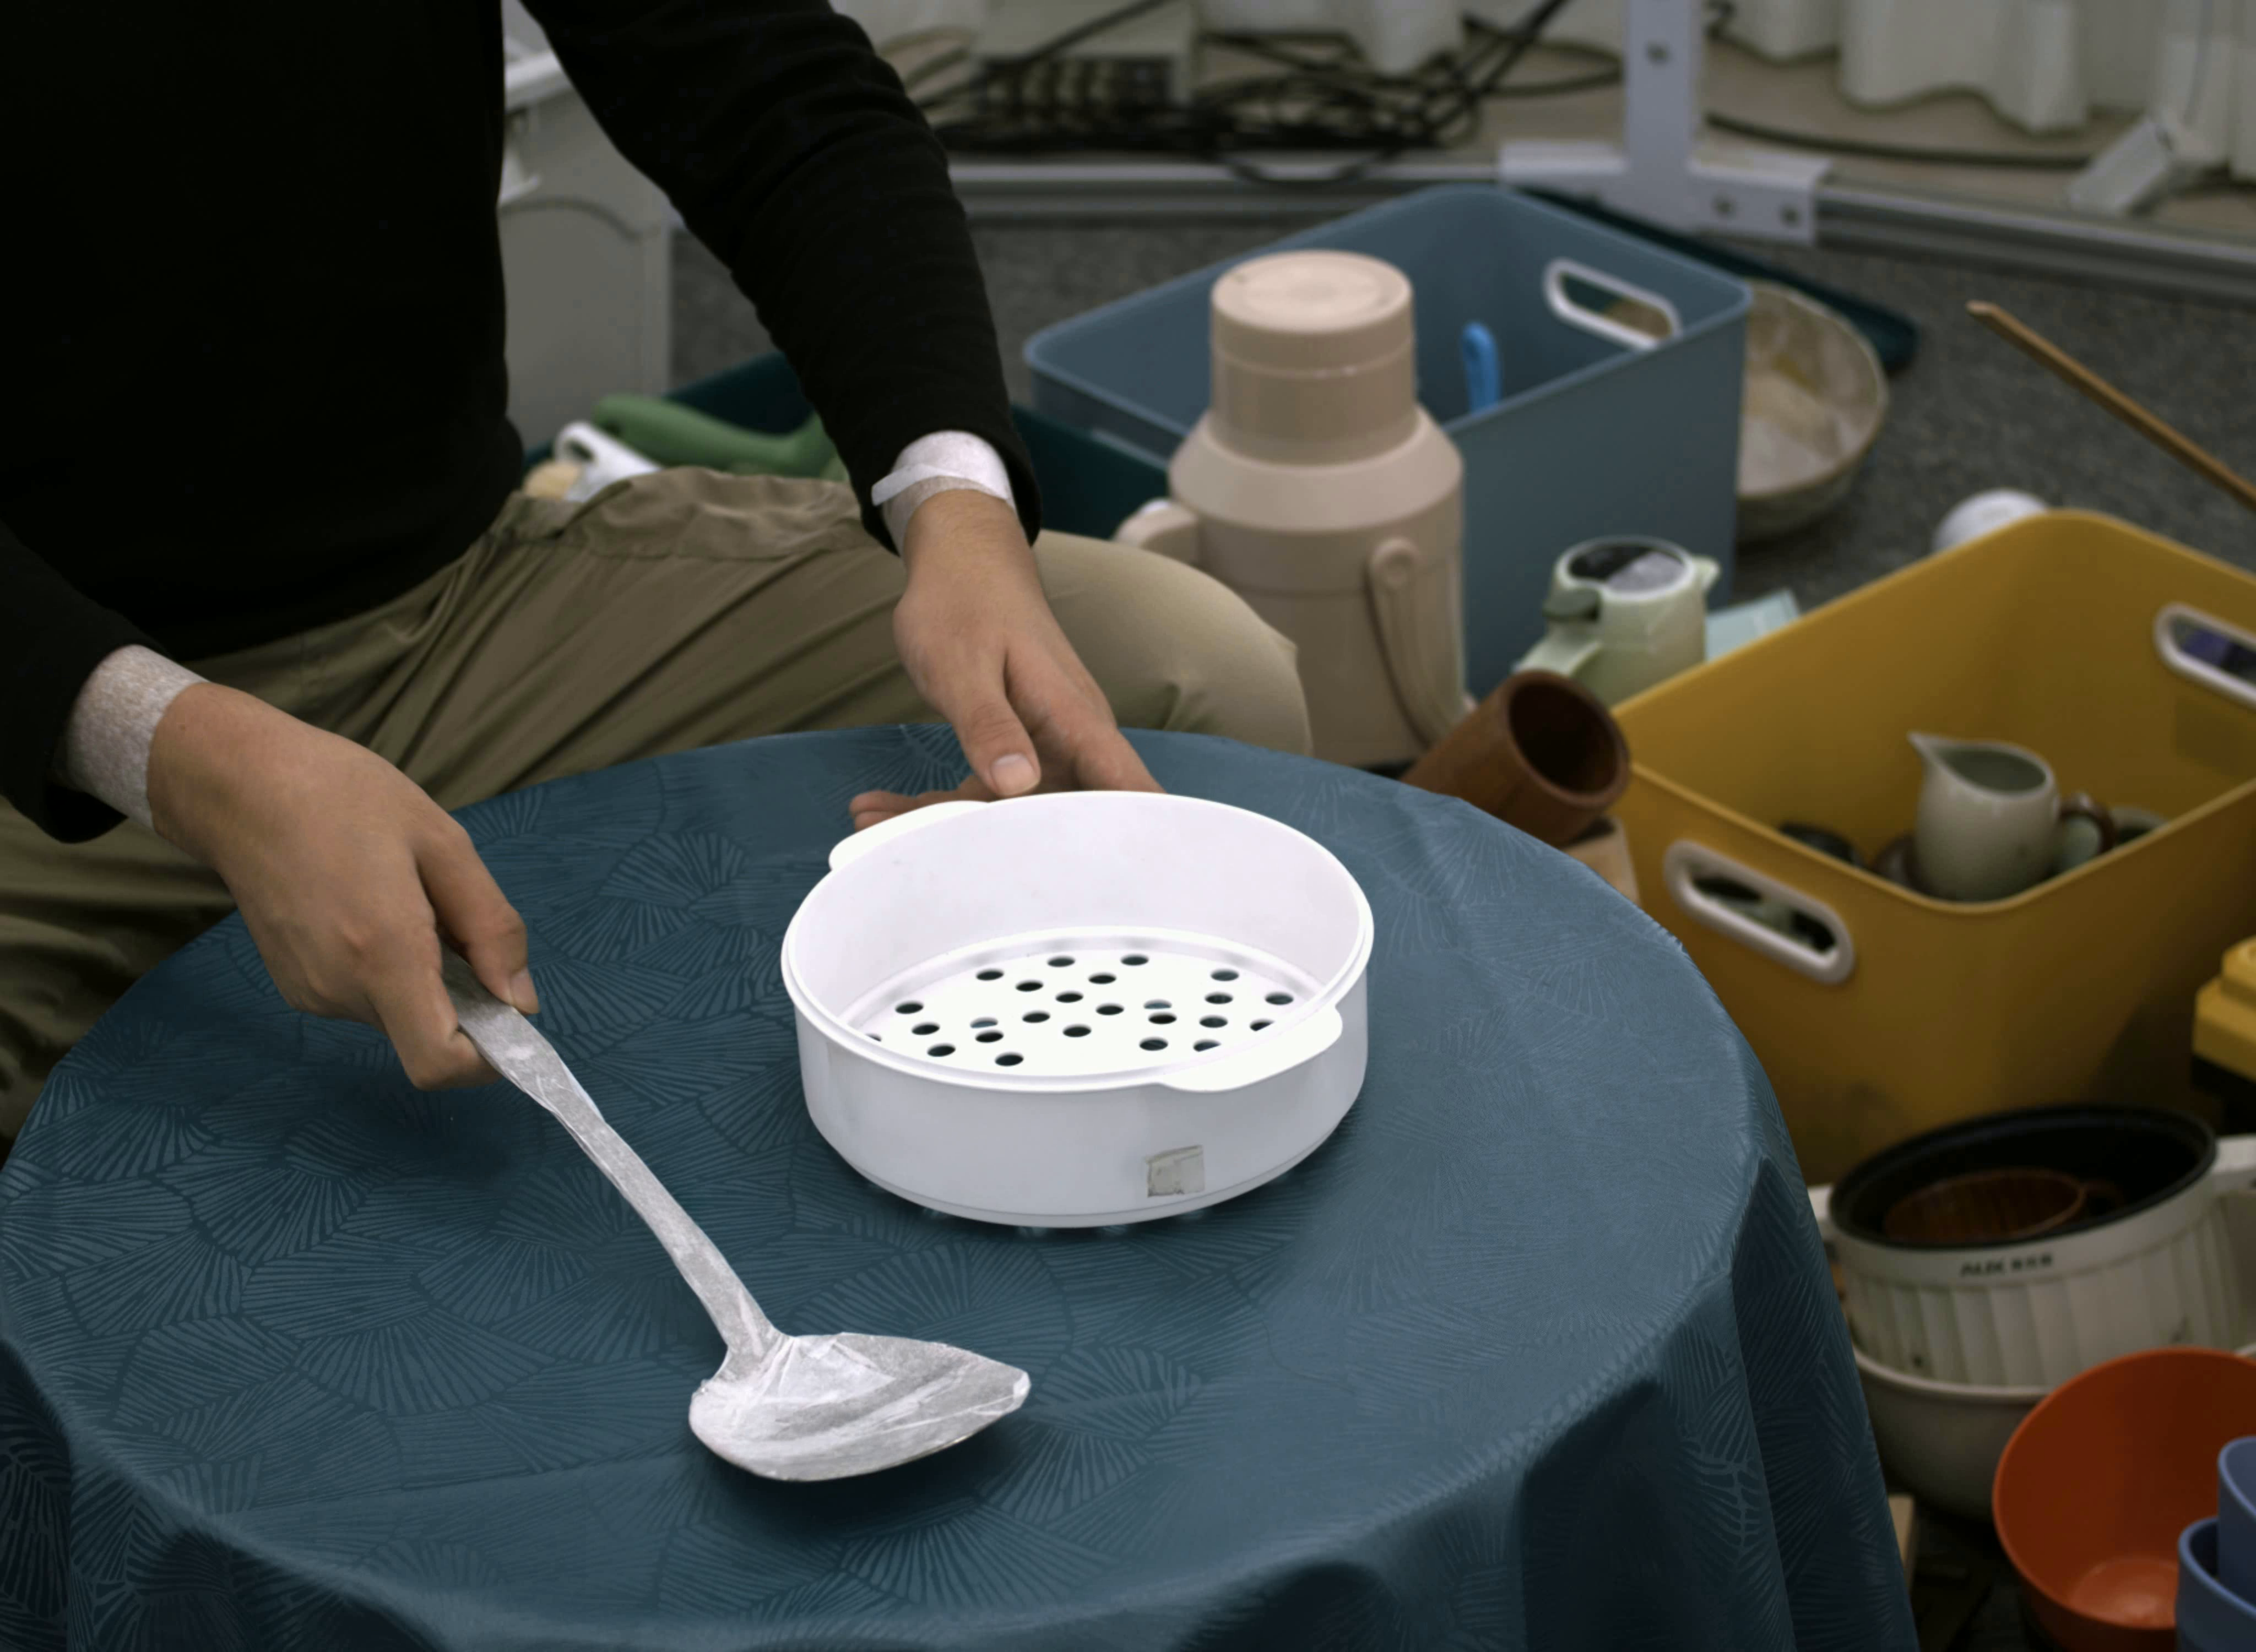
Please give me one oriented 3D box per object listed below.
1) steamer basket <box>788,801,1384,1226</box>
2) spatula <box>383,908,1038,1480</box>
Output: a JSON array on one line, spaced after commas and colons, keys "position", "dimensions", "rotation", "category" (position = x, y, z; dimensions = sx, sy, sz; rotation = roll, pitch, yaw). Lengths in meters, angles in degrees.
[{"position": [-0.013, 0.064, 1.899], "dimensions": [0.203, 0.068, 0.231], "rotation": [-20, 31, -31], "category": "steamer basket"}, {"position": [-0.159, 0.109, 1.820], "dimensions": [0.099, 0.044, 0.367], "rotation": [-19, 42, -28], "category": "spatula"}]
